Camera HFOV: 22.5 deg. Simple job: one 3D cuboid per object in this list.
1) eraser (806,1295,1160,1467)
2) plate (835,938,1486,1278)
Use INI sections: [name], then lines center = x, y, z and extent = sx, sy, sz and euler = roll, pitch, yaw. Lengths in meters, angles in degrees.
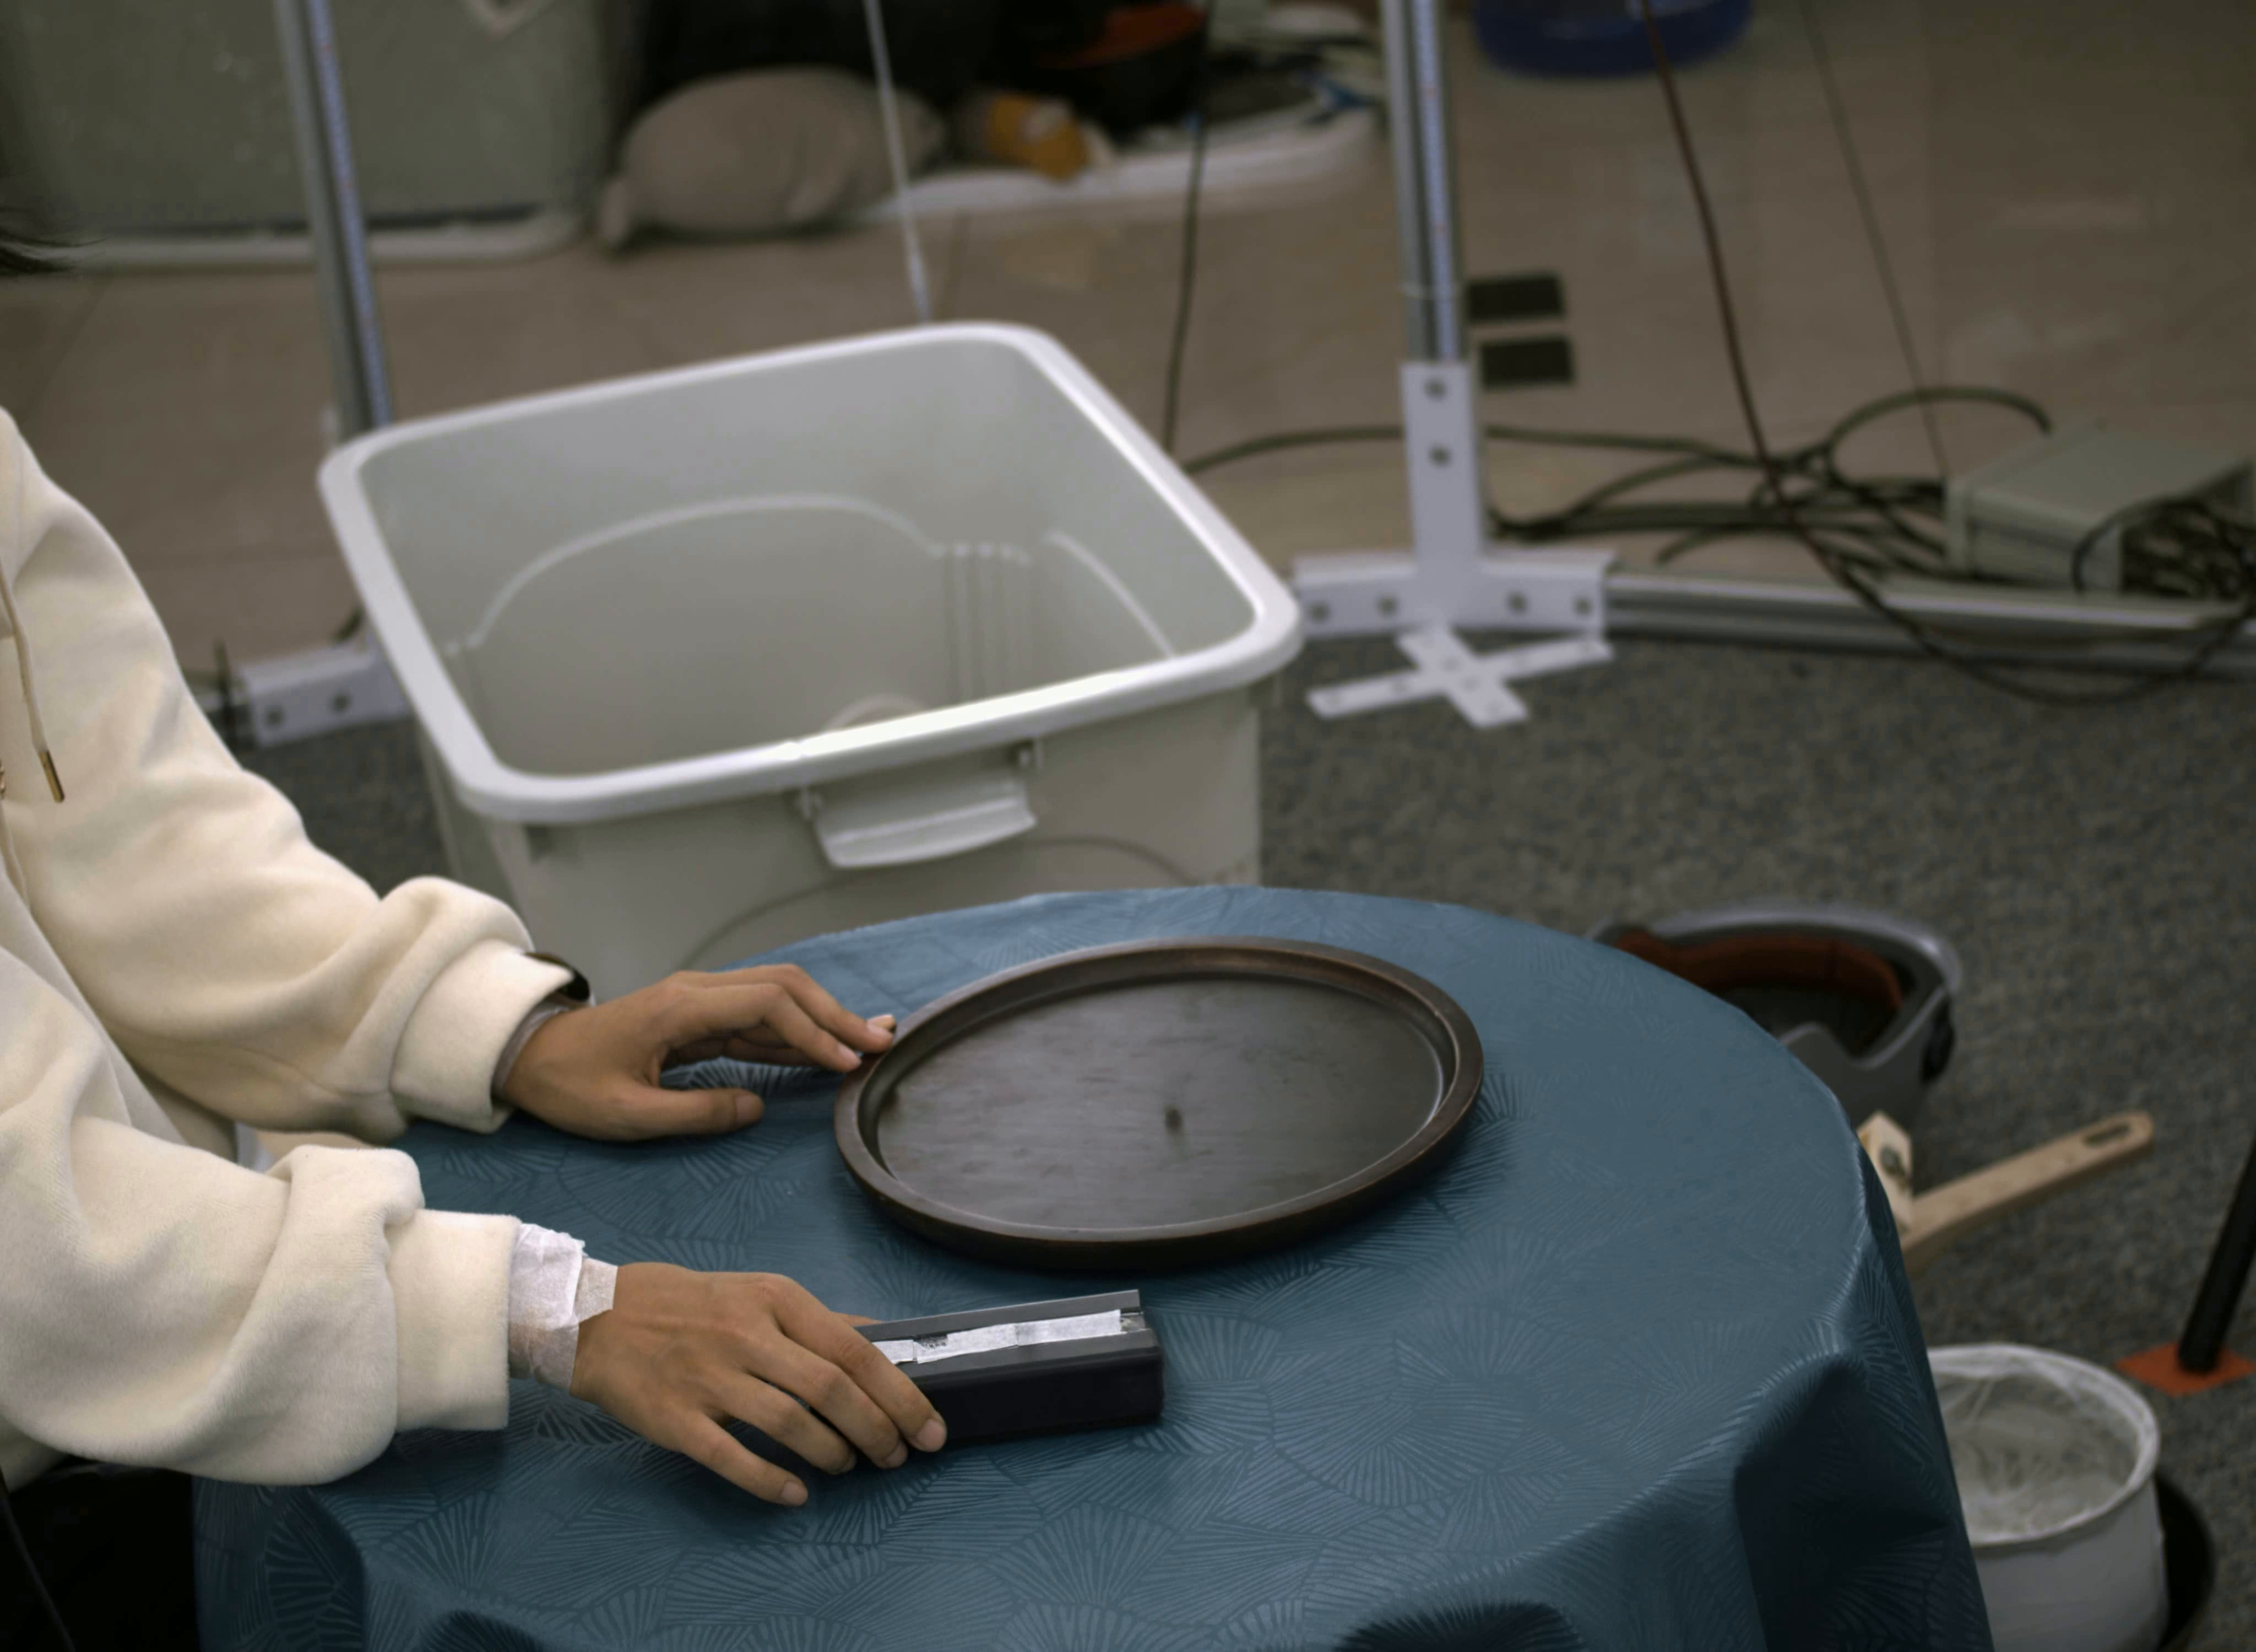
[eraser]
center = -0.051, 0.195, 2.008
extent = 0.125, 0.031, 0.053
euler = -8, 23, 0
[plate]
center = 0.012, 0.107, 2.186
extent = 0.254, 0.029, 0.251
euler = -4, 25, 2
